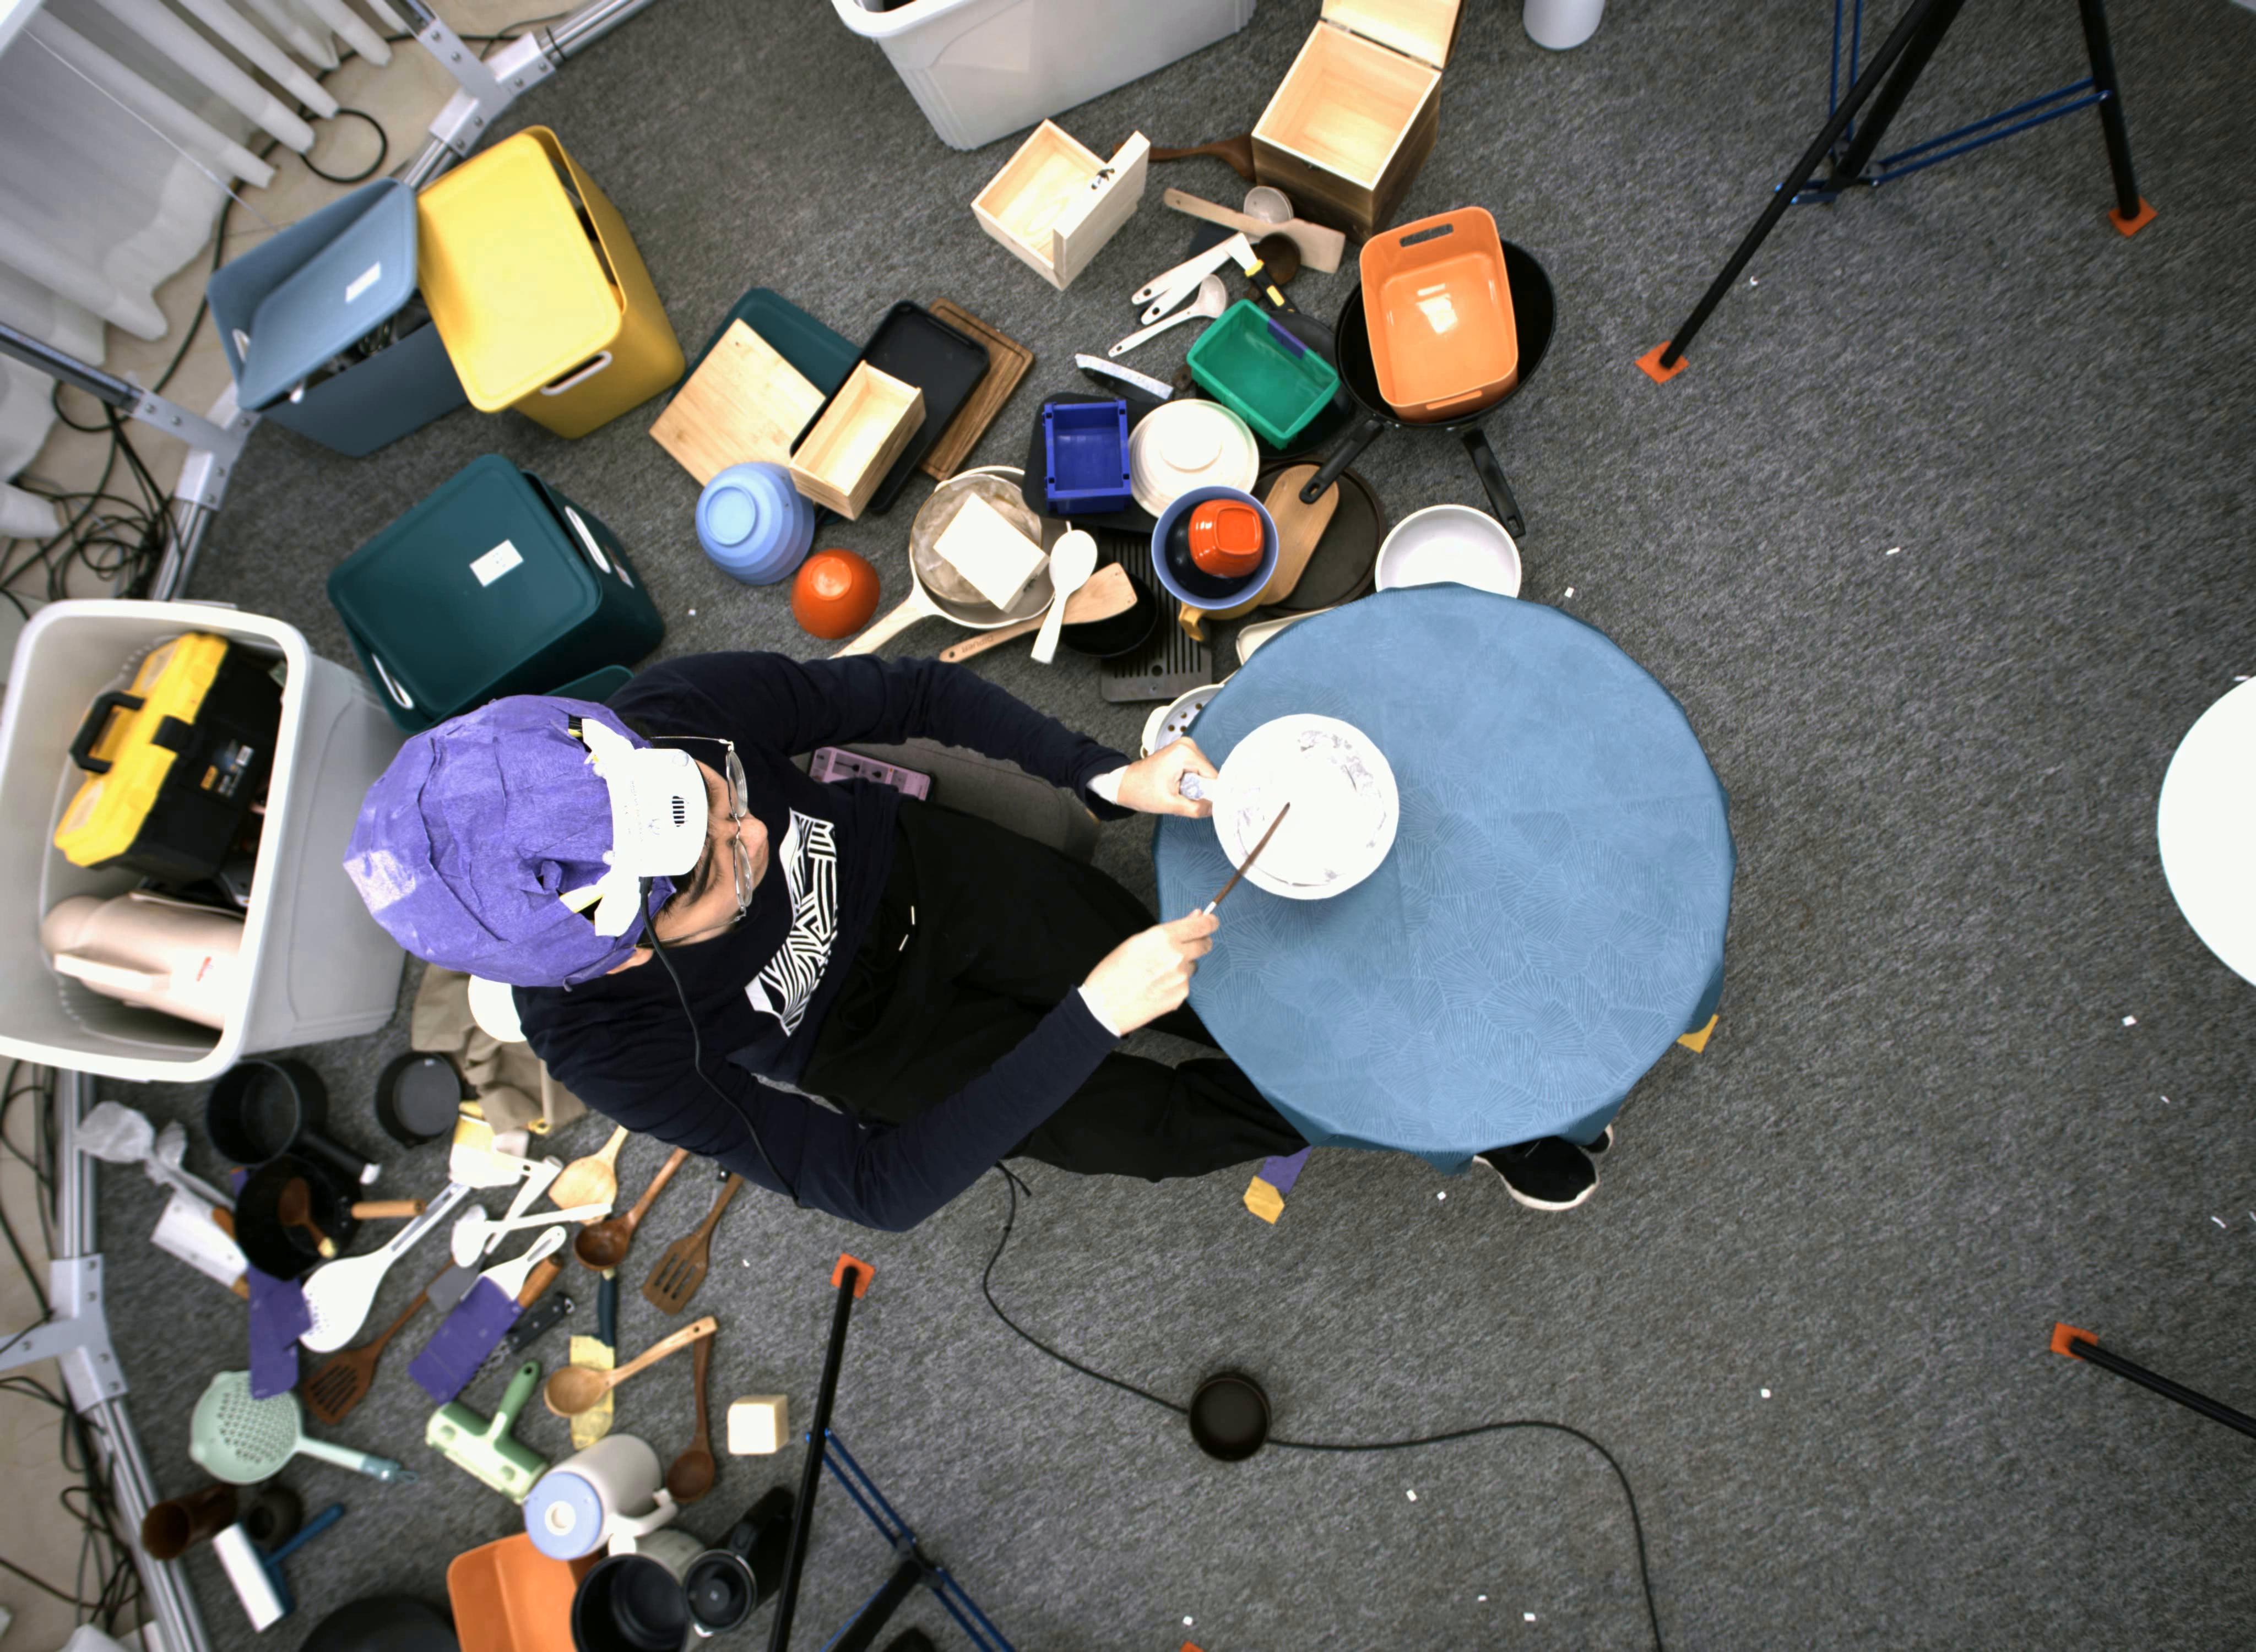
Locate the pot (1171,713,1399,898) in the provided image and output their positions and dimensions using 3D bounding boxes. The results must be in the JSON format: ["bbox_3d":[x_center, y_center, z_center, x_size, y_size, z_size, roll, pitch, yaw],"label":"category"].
[{"bbox_3d":[0.154,-0.021,1.385,0.234,0.136,0.178,9,90,11],"label":"pot"}]

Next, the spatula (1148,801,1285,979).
[{"bbox_3d":[0.084,0.057,1.277,0.009,0.073,0.213,38,73,9],"label":"spatula"}]
